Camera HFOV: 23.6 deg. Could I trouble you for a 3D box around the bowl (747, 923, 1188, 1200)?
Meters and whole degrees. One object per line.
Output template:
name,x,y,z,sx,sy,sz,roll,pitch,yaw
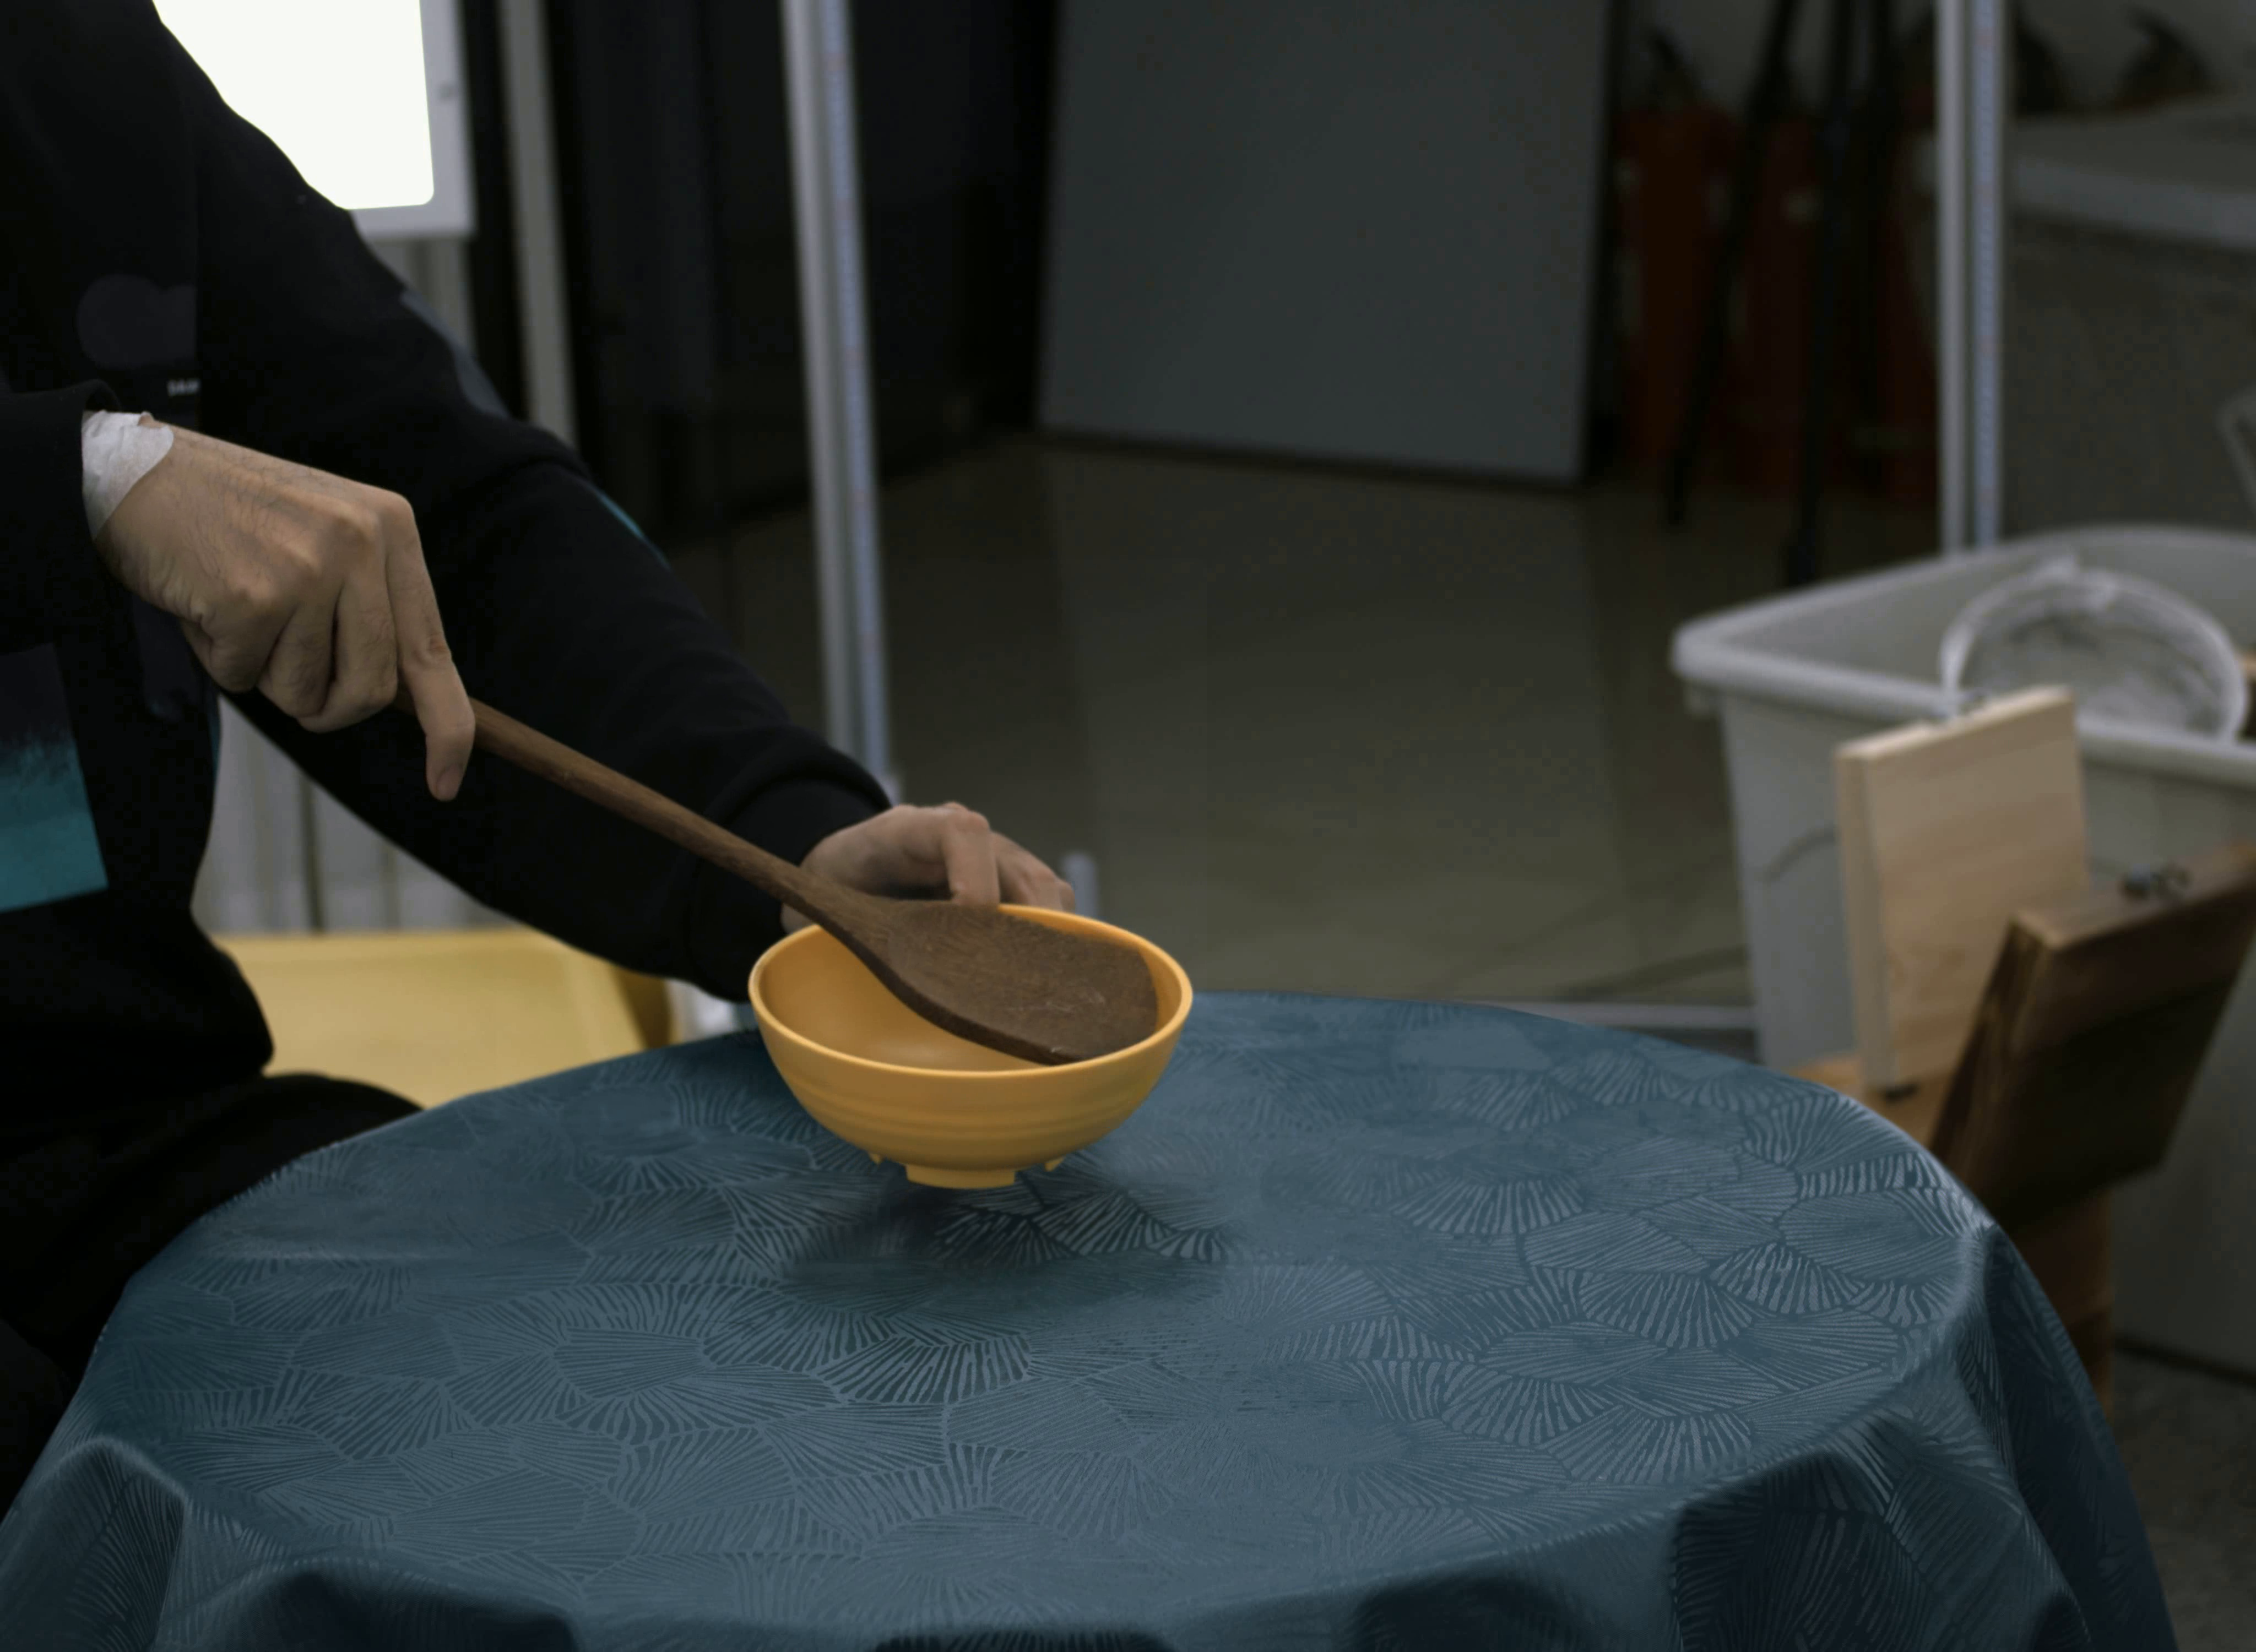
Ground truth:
bowl,-0.053,0.081,1.749,0.143,0.061,0.145,2,18,-1

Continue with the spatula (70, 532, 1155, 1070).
spatula,-0.166,-0.012,1.742,0.383,0.016,0.095,26,23,3
